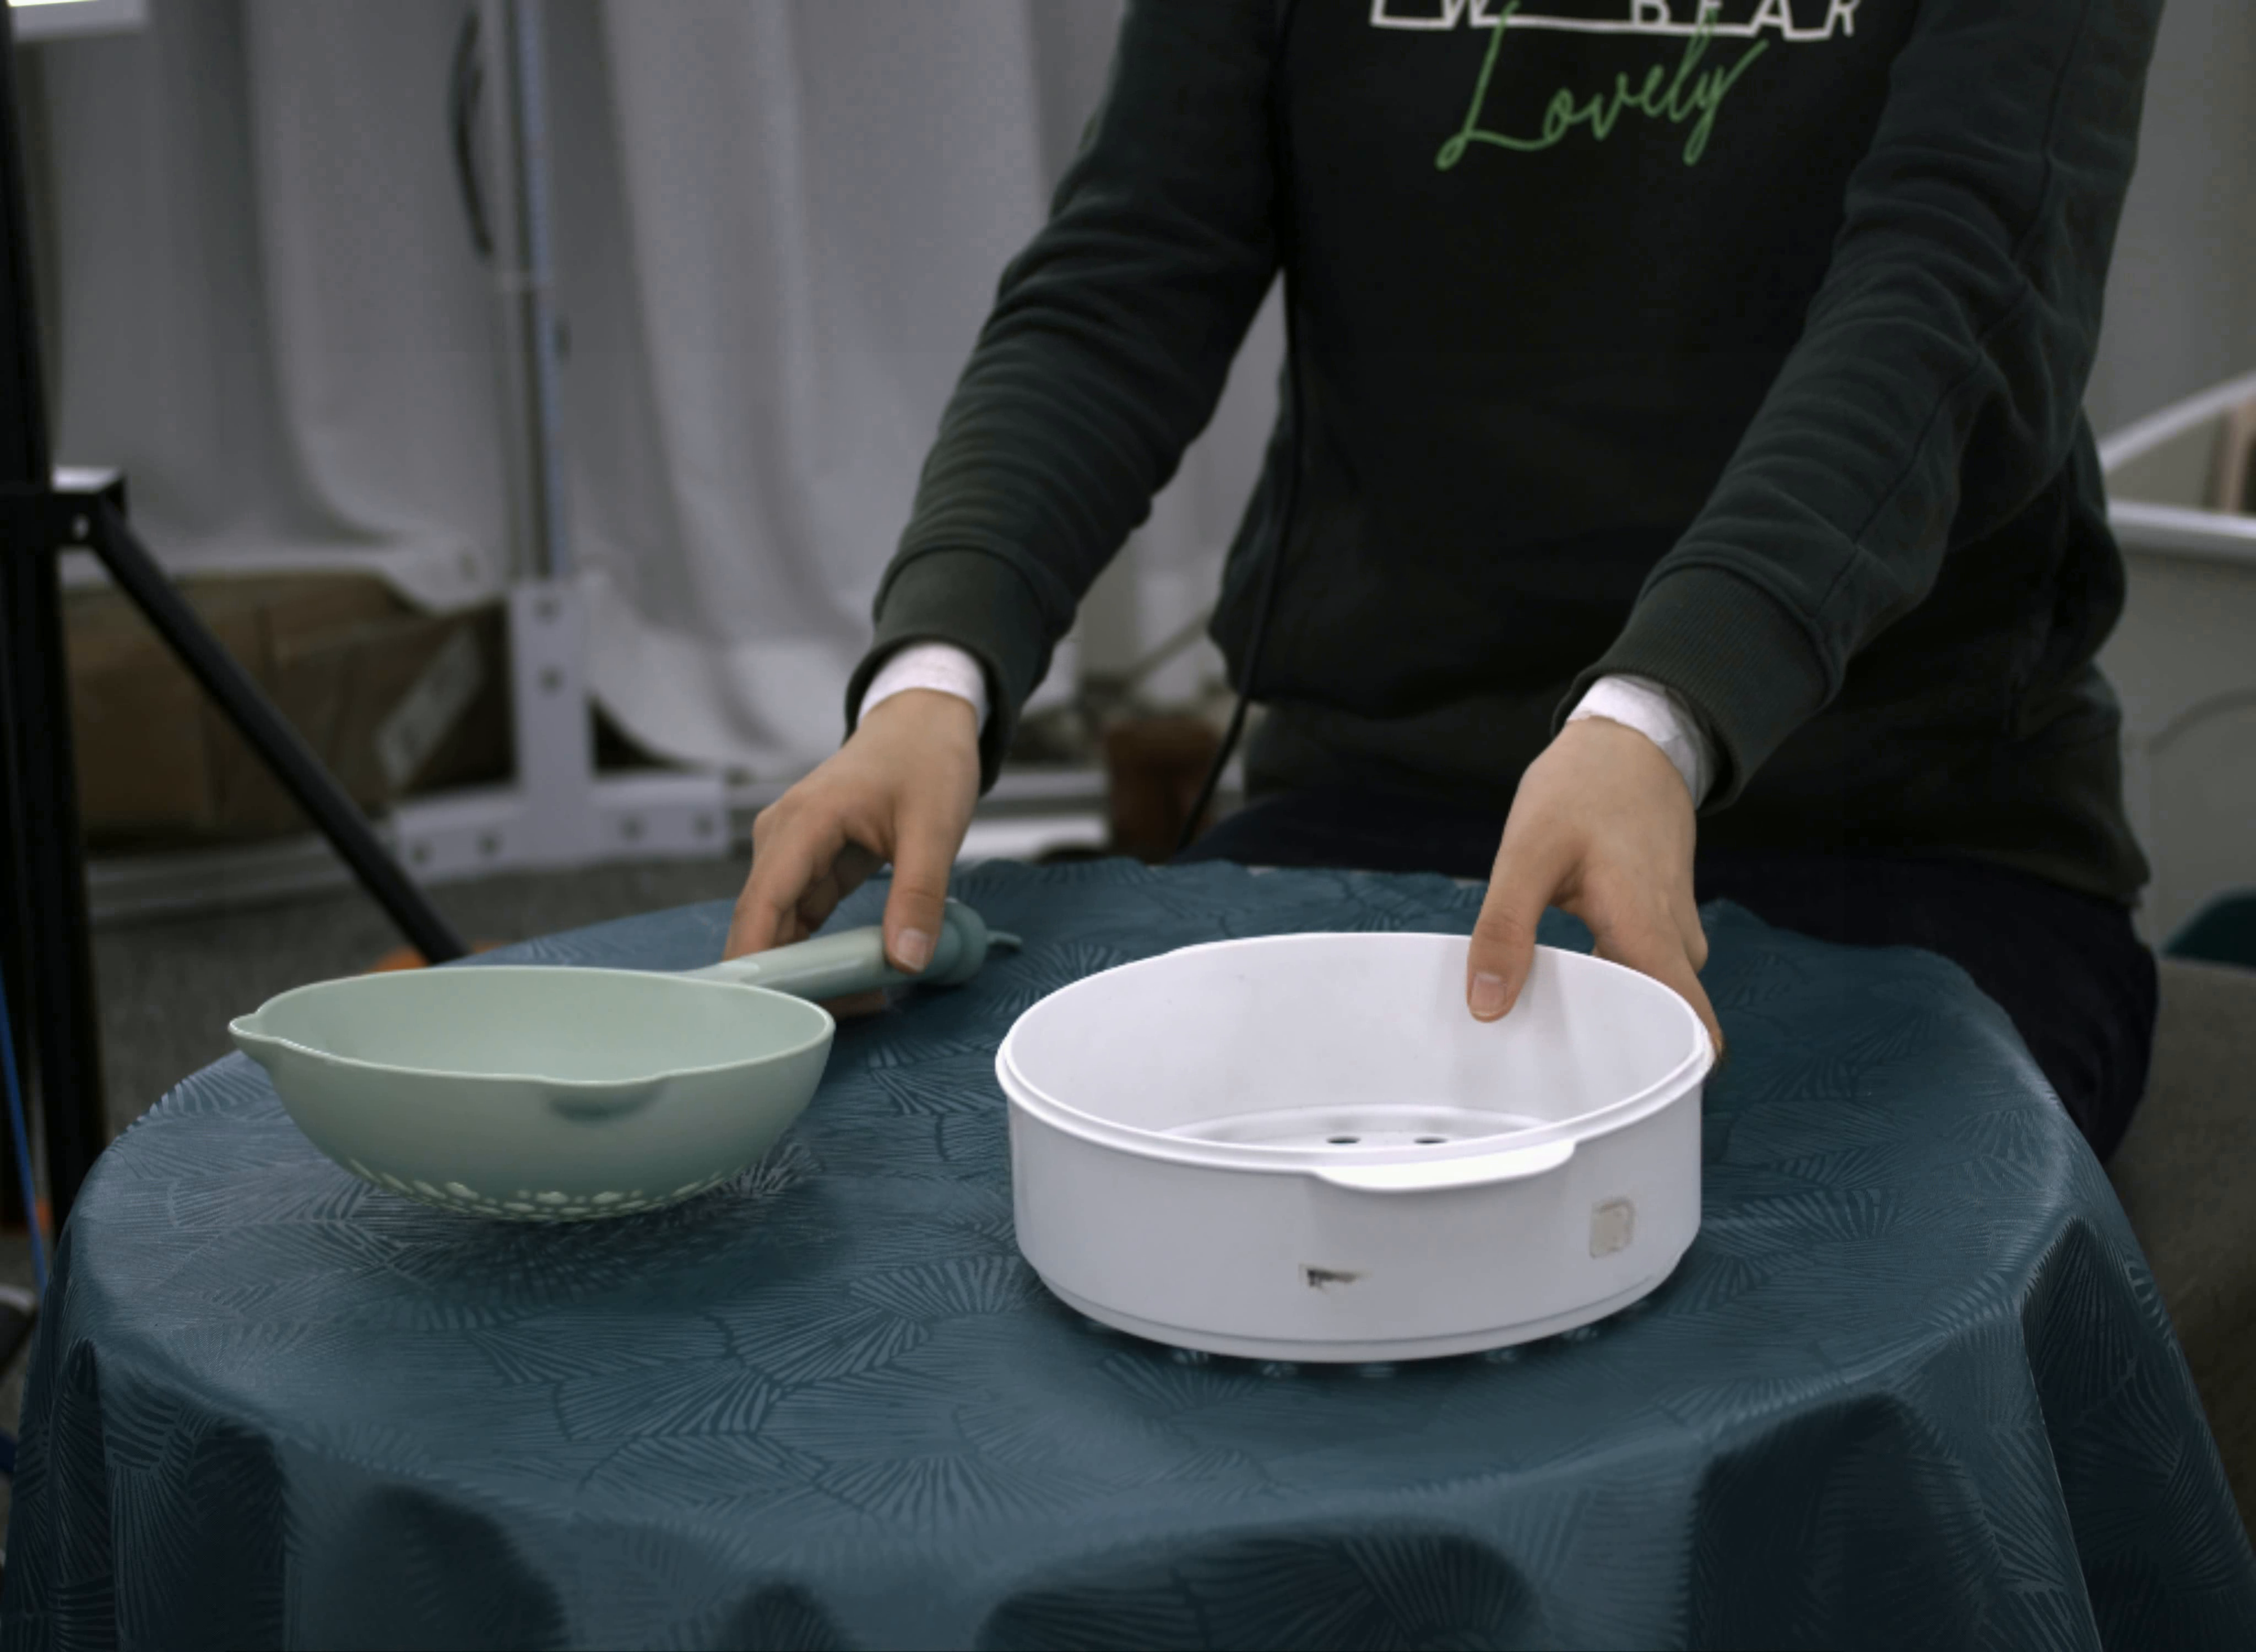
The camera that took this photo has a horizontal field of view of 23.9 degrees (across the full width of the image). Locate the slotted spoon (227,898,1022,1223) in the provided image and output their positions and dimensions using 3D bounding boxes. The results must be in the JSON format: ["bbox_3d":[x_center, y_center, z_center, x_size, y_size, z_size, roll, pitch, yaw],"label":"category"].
[{"bbox_3d":[-0.125,0.056,1.642,0.172,0.075,0.353,7,18,28],"label":"slotted spoon"}]

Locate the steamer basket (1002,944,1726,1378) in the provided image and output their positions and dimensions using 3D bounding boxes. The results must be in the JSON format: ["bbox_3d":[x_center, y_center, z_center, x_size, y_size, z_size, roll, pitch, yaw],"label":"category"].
[{"bbox_3d":[0.066,0.093,1.482,0.199,0.069,0.233,-5,16,-12],"label":"steamer basket"}]
